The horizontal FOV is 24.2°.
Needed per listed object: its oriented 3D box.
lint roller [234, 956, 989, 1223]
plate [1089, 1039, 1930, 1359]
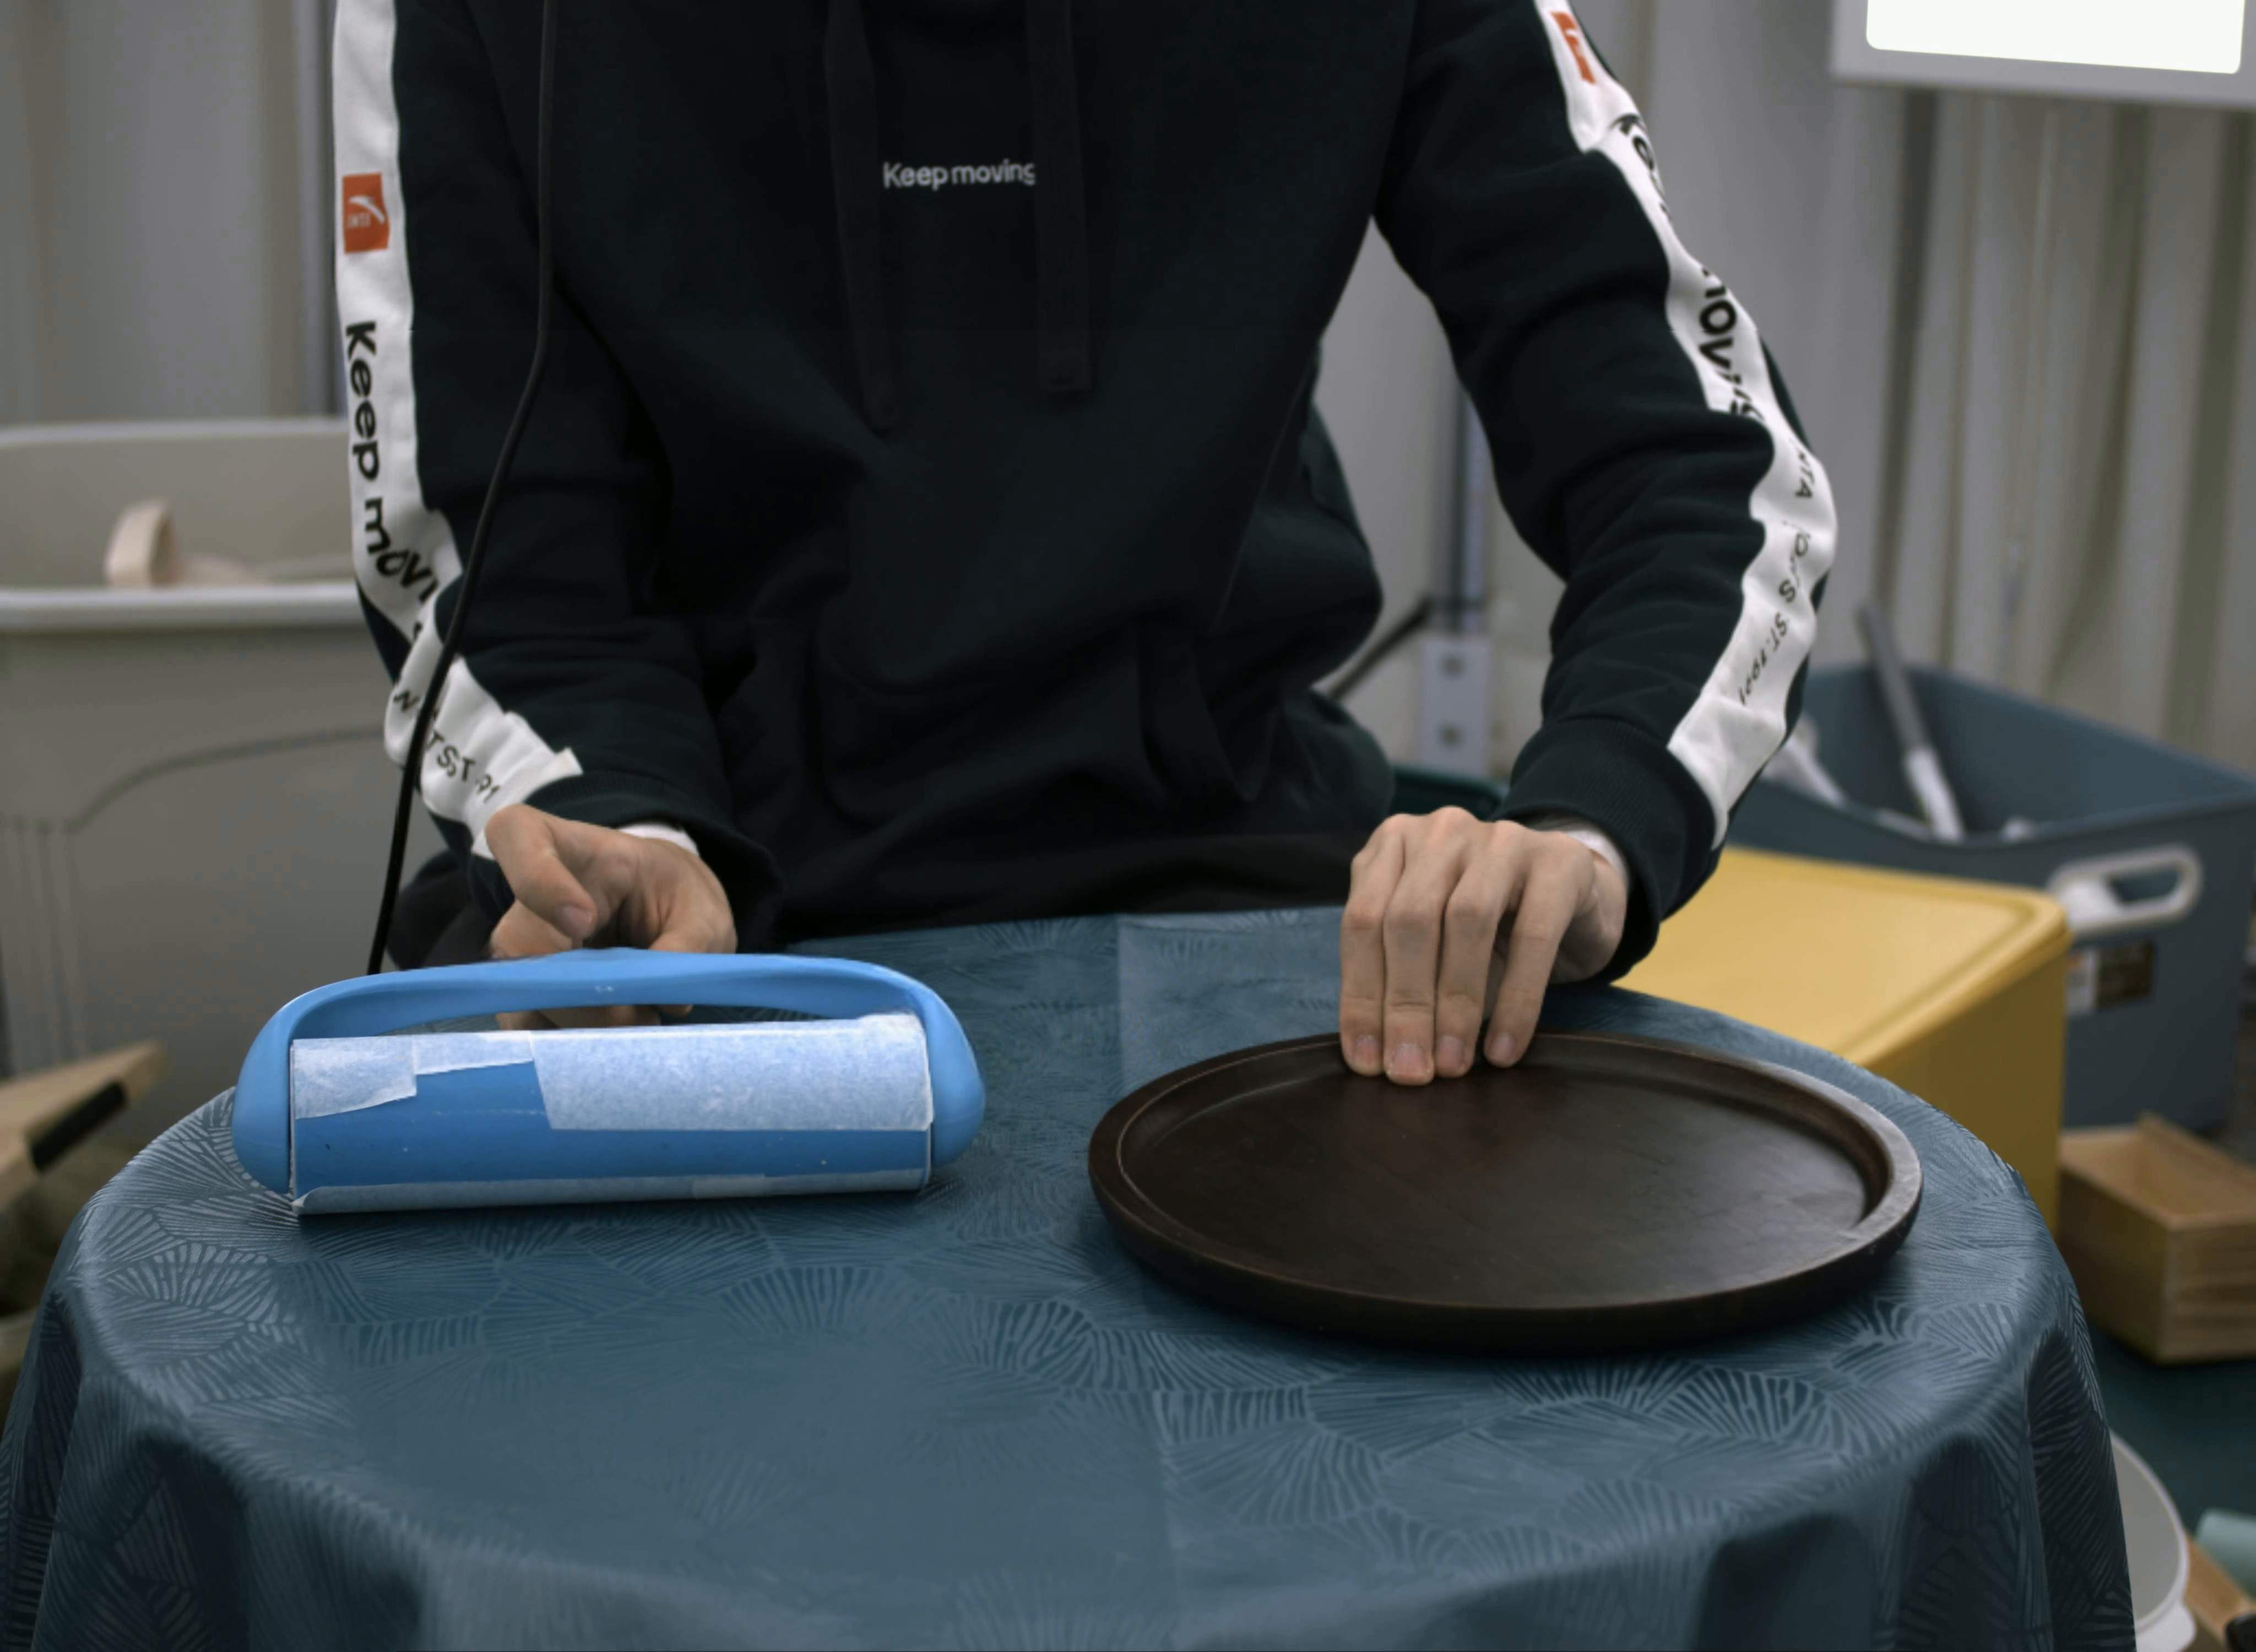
[{"bbox_3d":[-0.166,0.071,1.656,0.229,0.068,0.178,-4,17,-10],"label":"lint roller"},{"bbox_3d":[0.114,0.109,1.589,0.254,0.029,0.253,2,16,0],"label":"plate"}]
